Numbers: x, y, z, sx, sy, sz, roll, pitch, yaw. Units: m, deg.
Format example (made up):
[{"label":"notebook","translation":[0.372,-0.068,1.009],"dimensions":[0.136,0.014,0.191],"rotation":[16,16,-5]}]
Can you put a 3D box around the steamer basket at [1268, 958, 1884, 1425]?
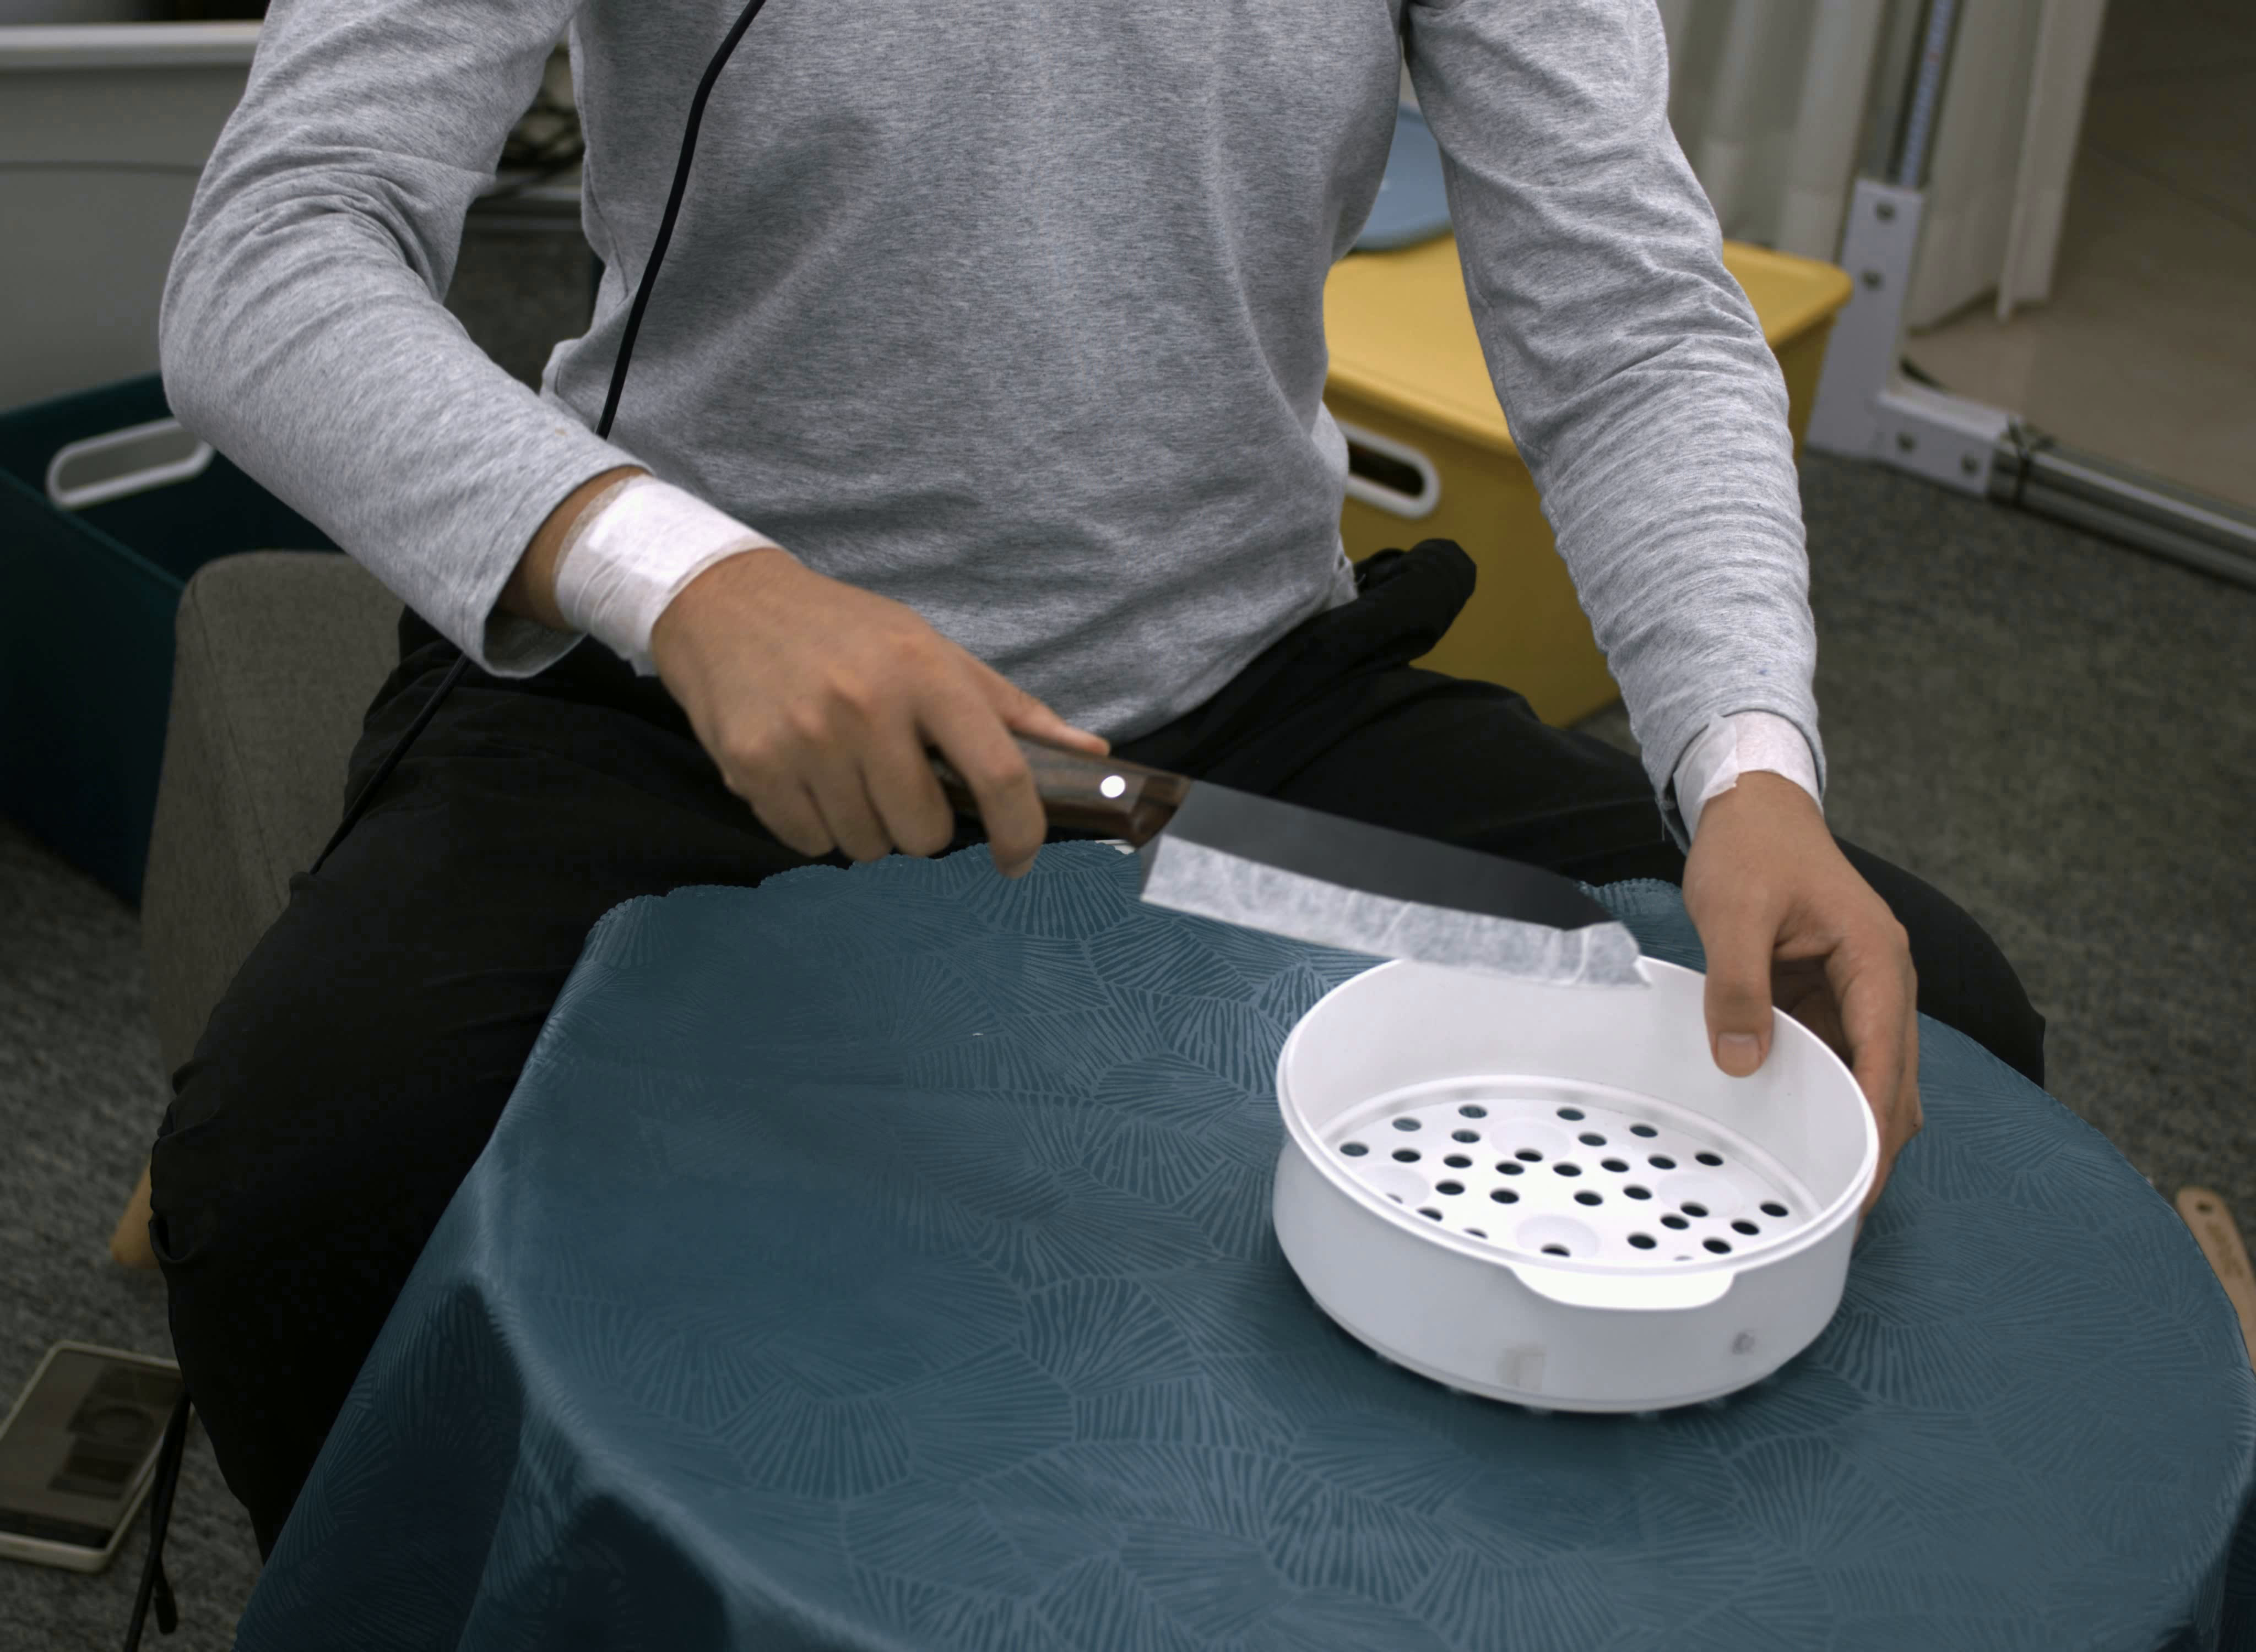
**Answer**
[{"label":"steamer basket","translation":[0.146,0.120,1.766],"dimensions":[0.201,0.069,0.232],"rotation":[2,29,-6]}]

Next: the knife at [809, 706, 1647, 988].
[{"label":"knife","translation":[0.029,0.007,1.717],"dimensions":[0.289,0.050,0.020],"rotation":[16,-16,12]}]
